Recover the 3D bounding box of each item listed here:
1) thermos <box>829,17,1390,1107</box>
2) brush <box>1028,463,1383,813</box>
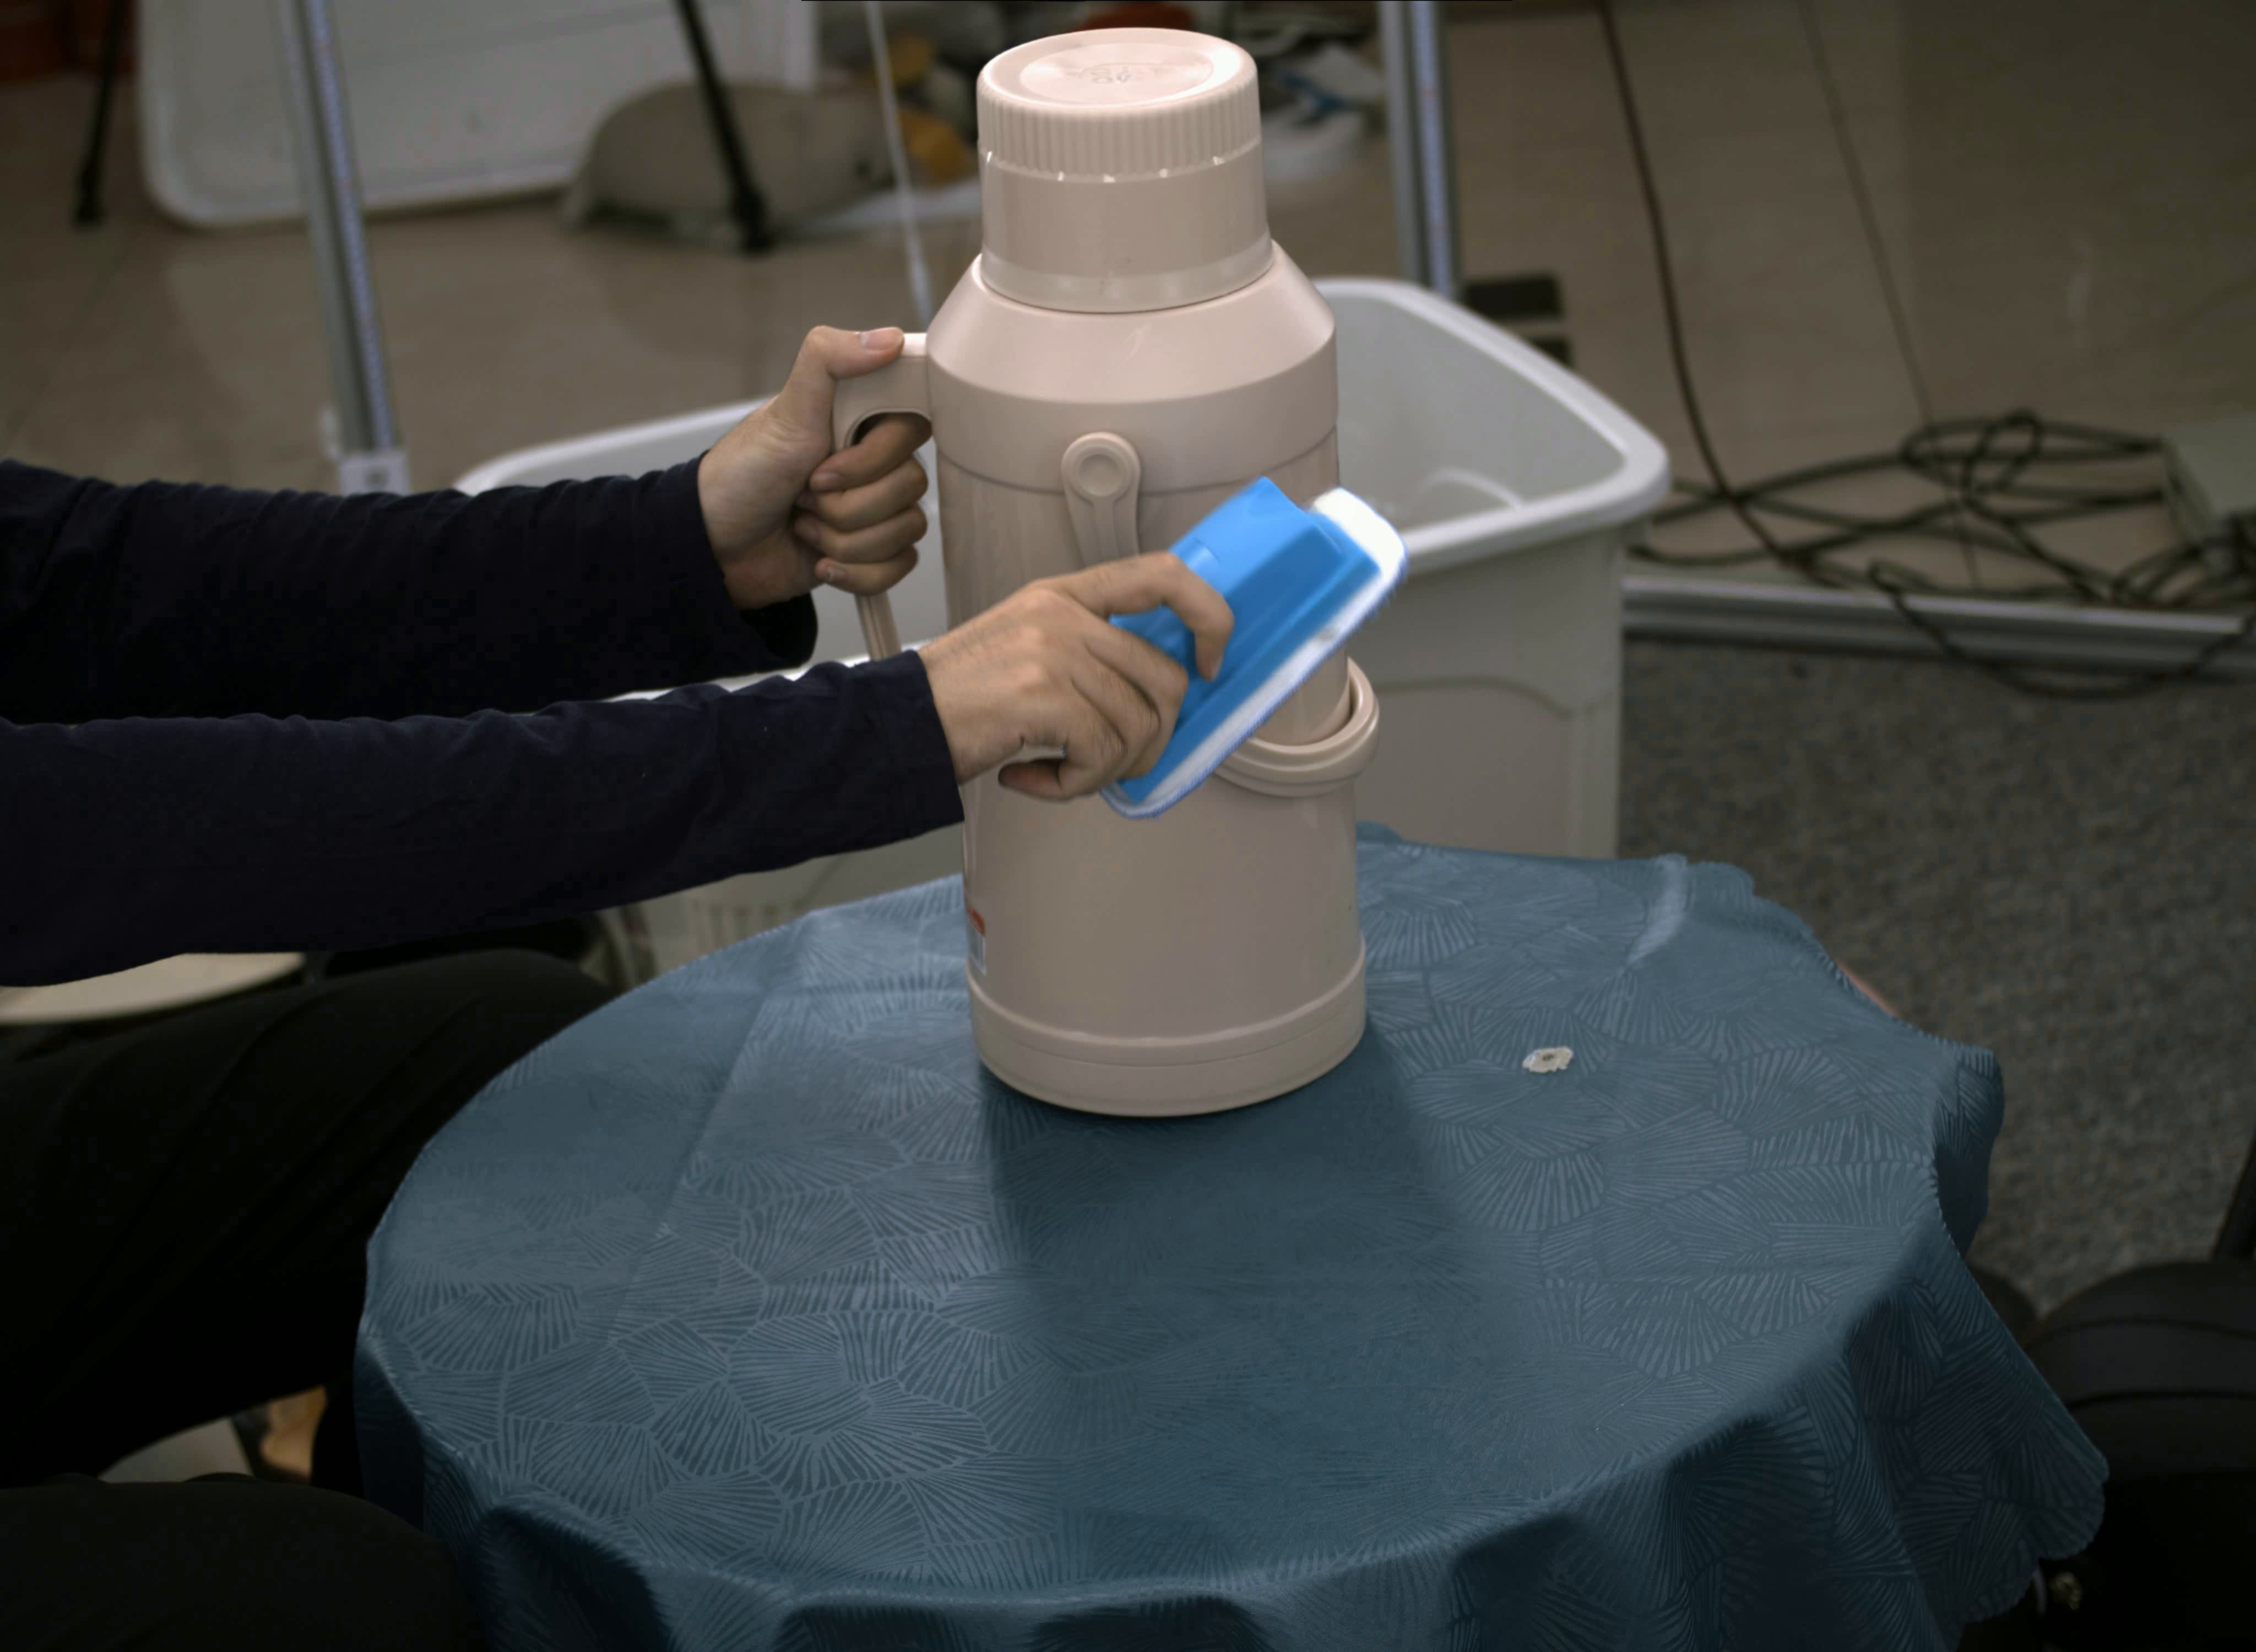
[{"bbox_3d":[-0.005,-0.102,2.179,0.206,0.413,0.172,0,28,8],"label":"thermos"},{"bbox_3d":[0.019,-0.073,1.996,0.144,0.056,0.082,-42,33,2],"label":"brush"}]
